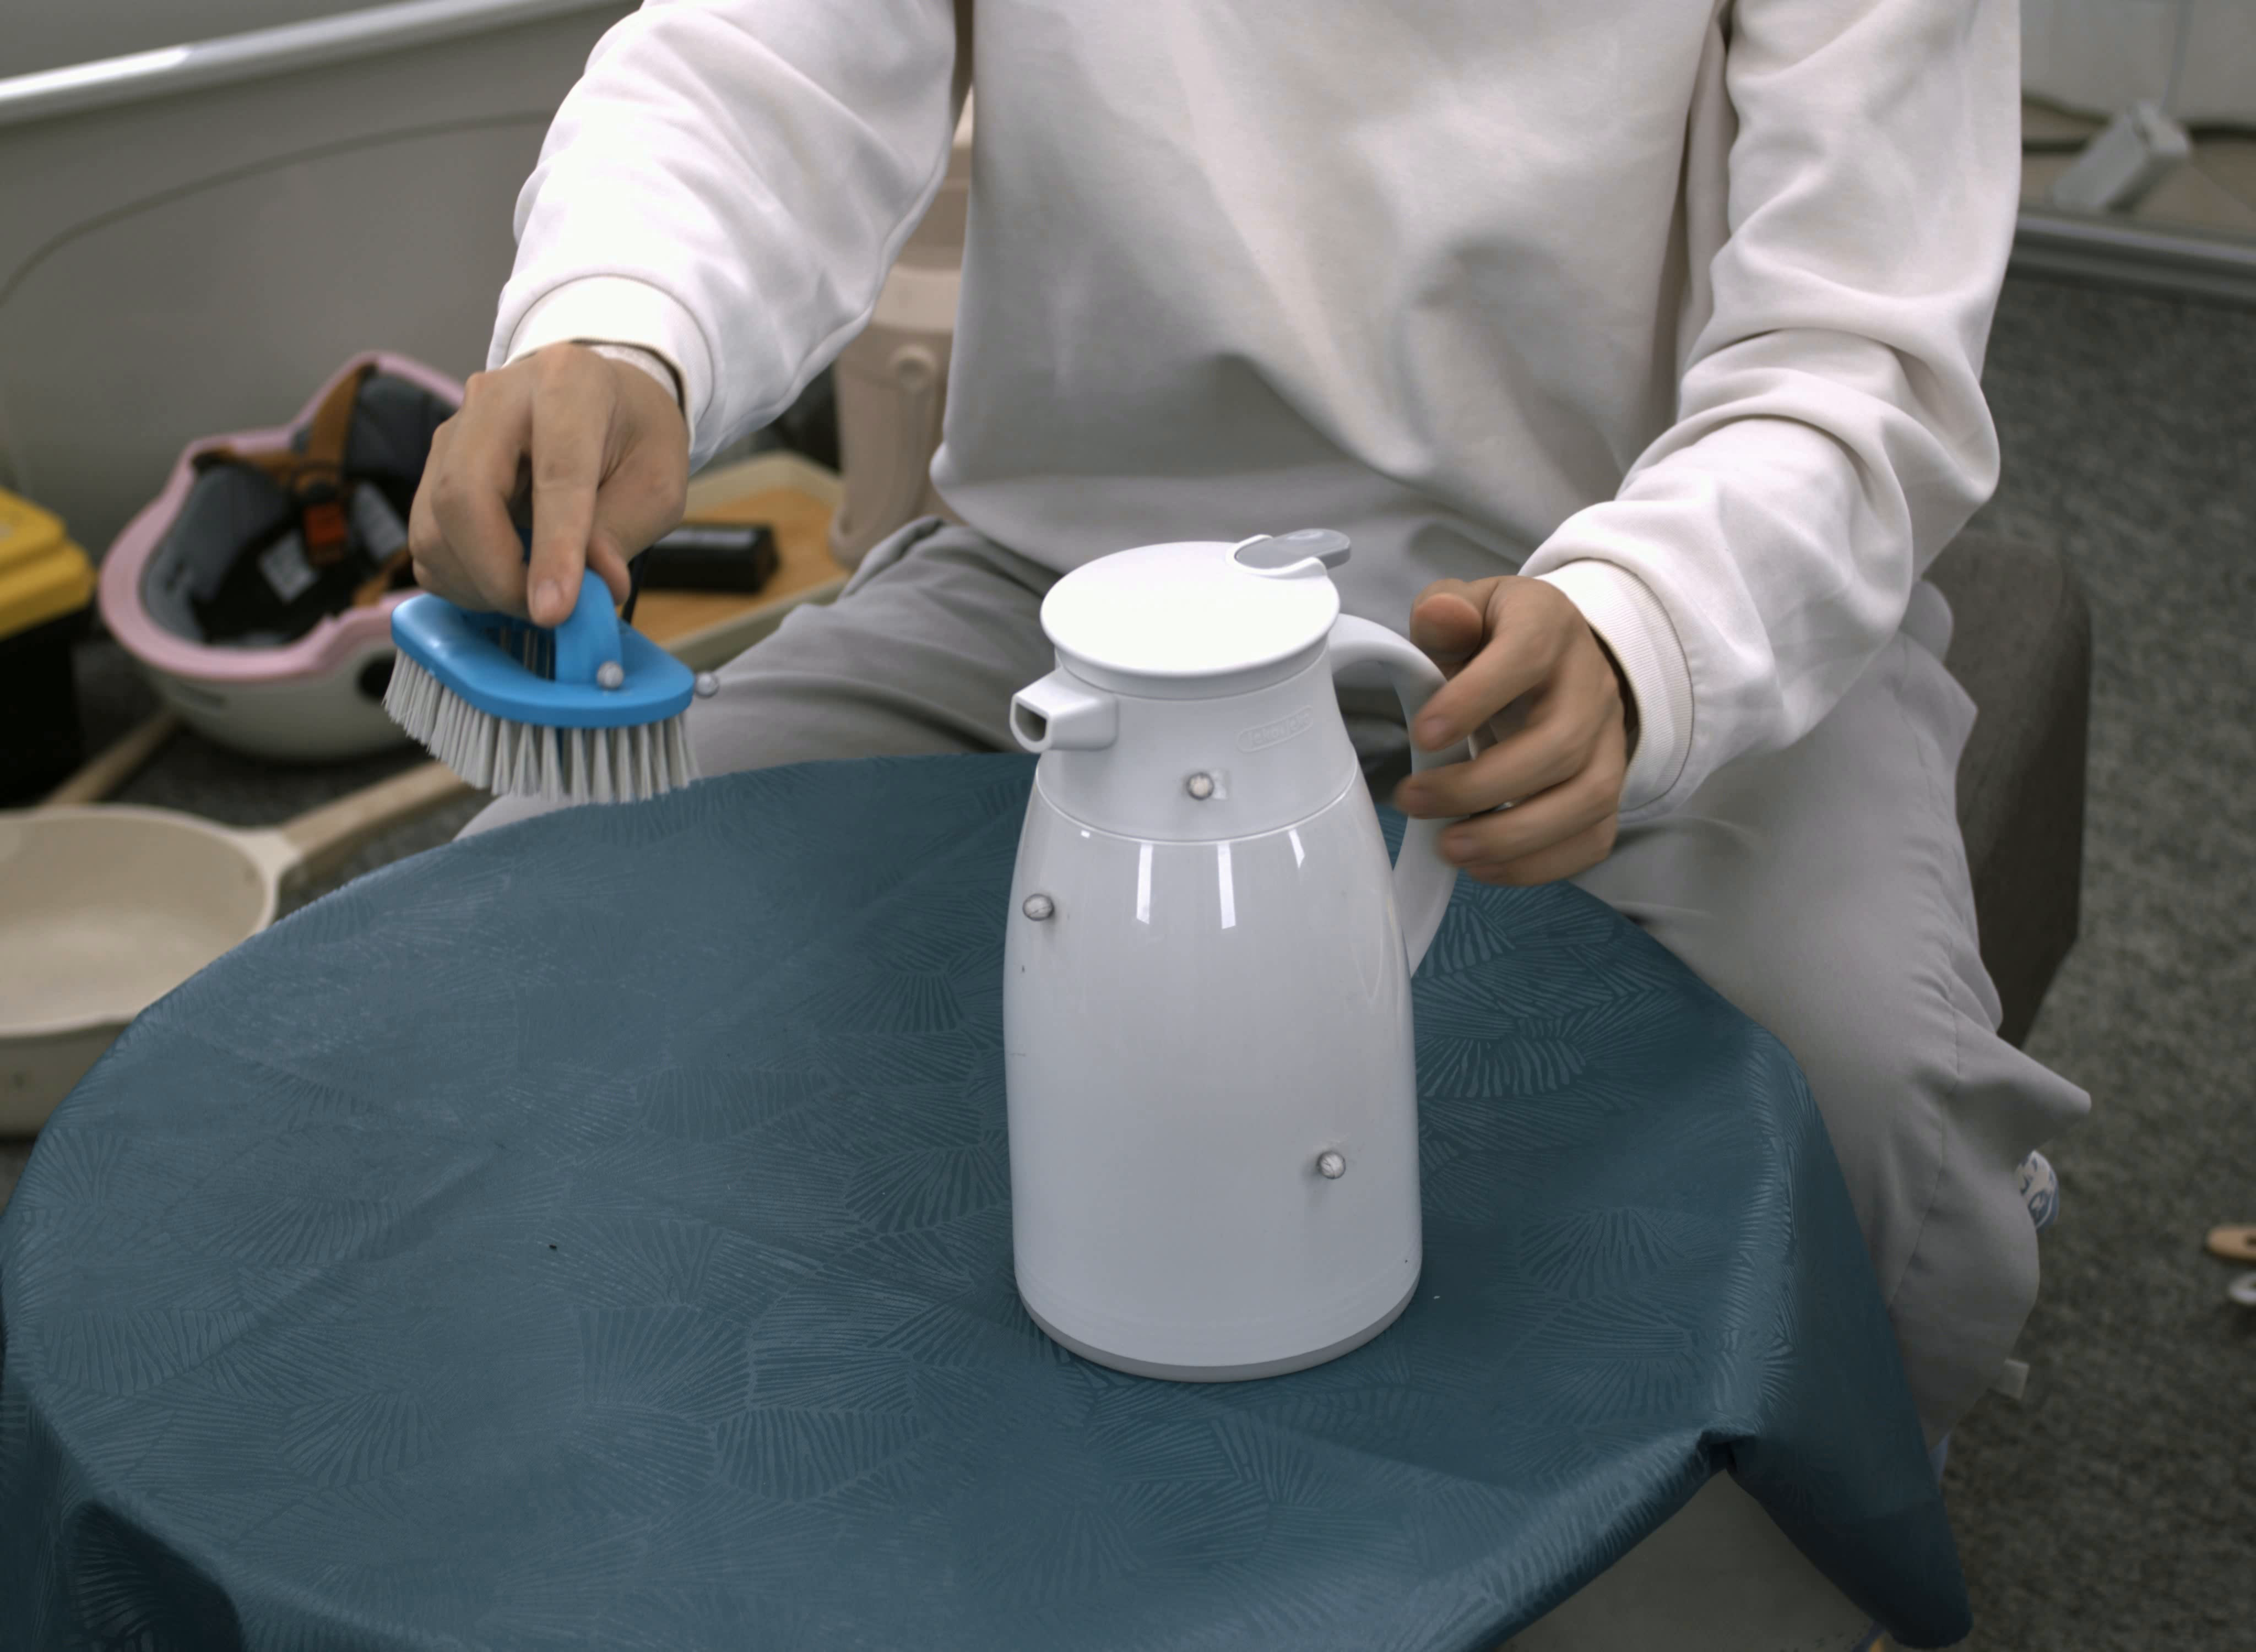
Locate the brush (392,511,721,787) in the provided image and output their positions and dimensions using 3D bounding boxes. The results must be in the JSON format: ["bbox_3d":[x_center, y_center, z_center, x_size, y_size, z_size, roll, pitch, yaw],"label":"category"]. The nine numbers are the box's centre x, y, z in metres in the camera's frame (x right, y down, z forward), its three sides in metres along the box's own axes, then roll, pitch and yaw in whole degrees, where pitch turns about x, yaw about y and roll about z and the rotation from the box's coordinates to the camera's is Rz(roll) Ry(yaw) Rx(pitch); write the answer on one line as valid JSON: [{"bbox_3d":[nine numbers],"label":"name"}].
[{"bbox_3d":[-0.182,-0.061,1.765,0.084,0.063,0.142,-8,19,-23],"label":"brush"}]

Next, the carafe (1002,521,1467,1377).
[{"bbox_3d":[0.038,0.027,1.775,0.169,0.246,0.132,-21,31,-34],"label":"carafe"}]
